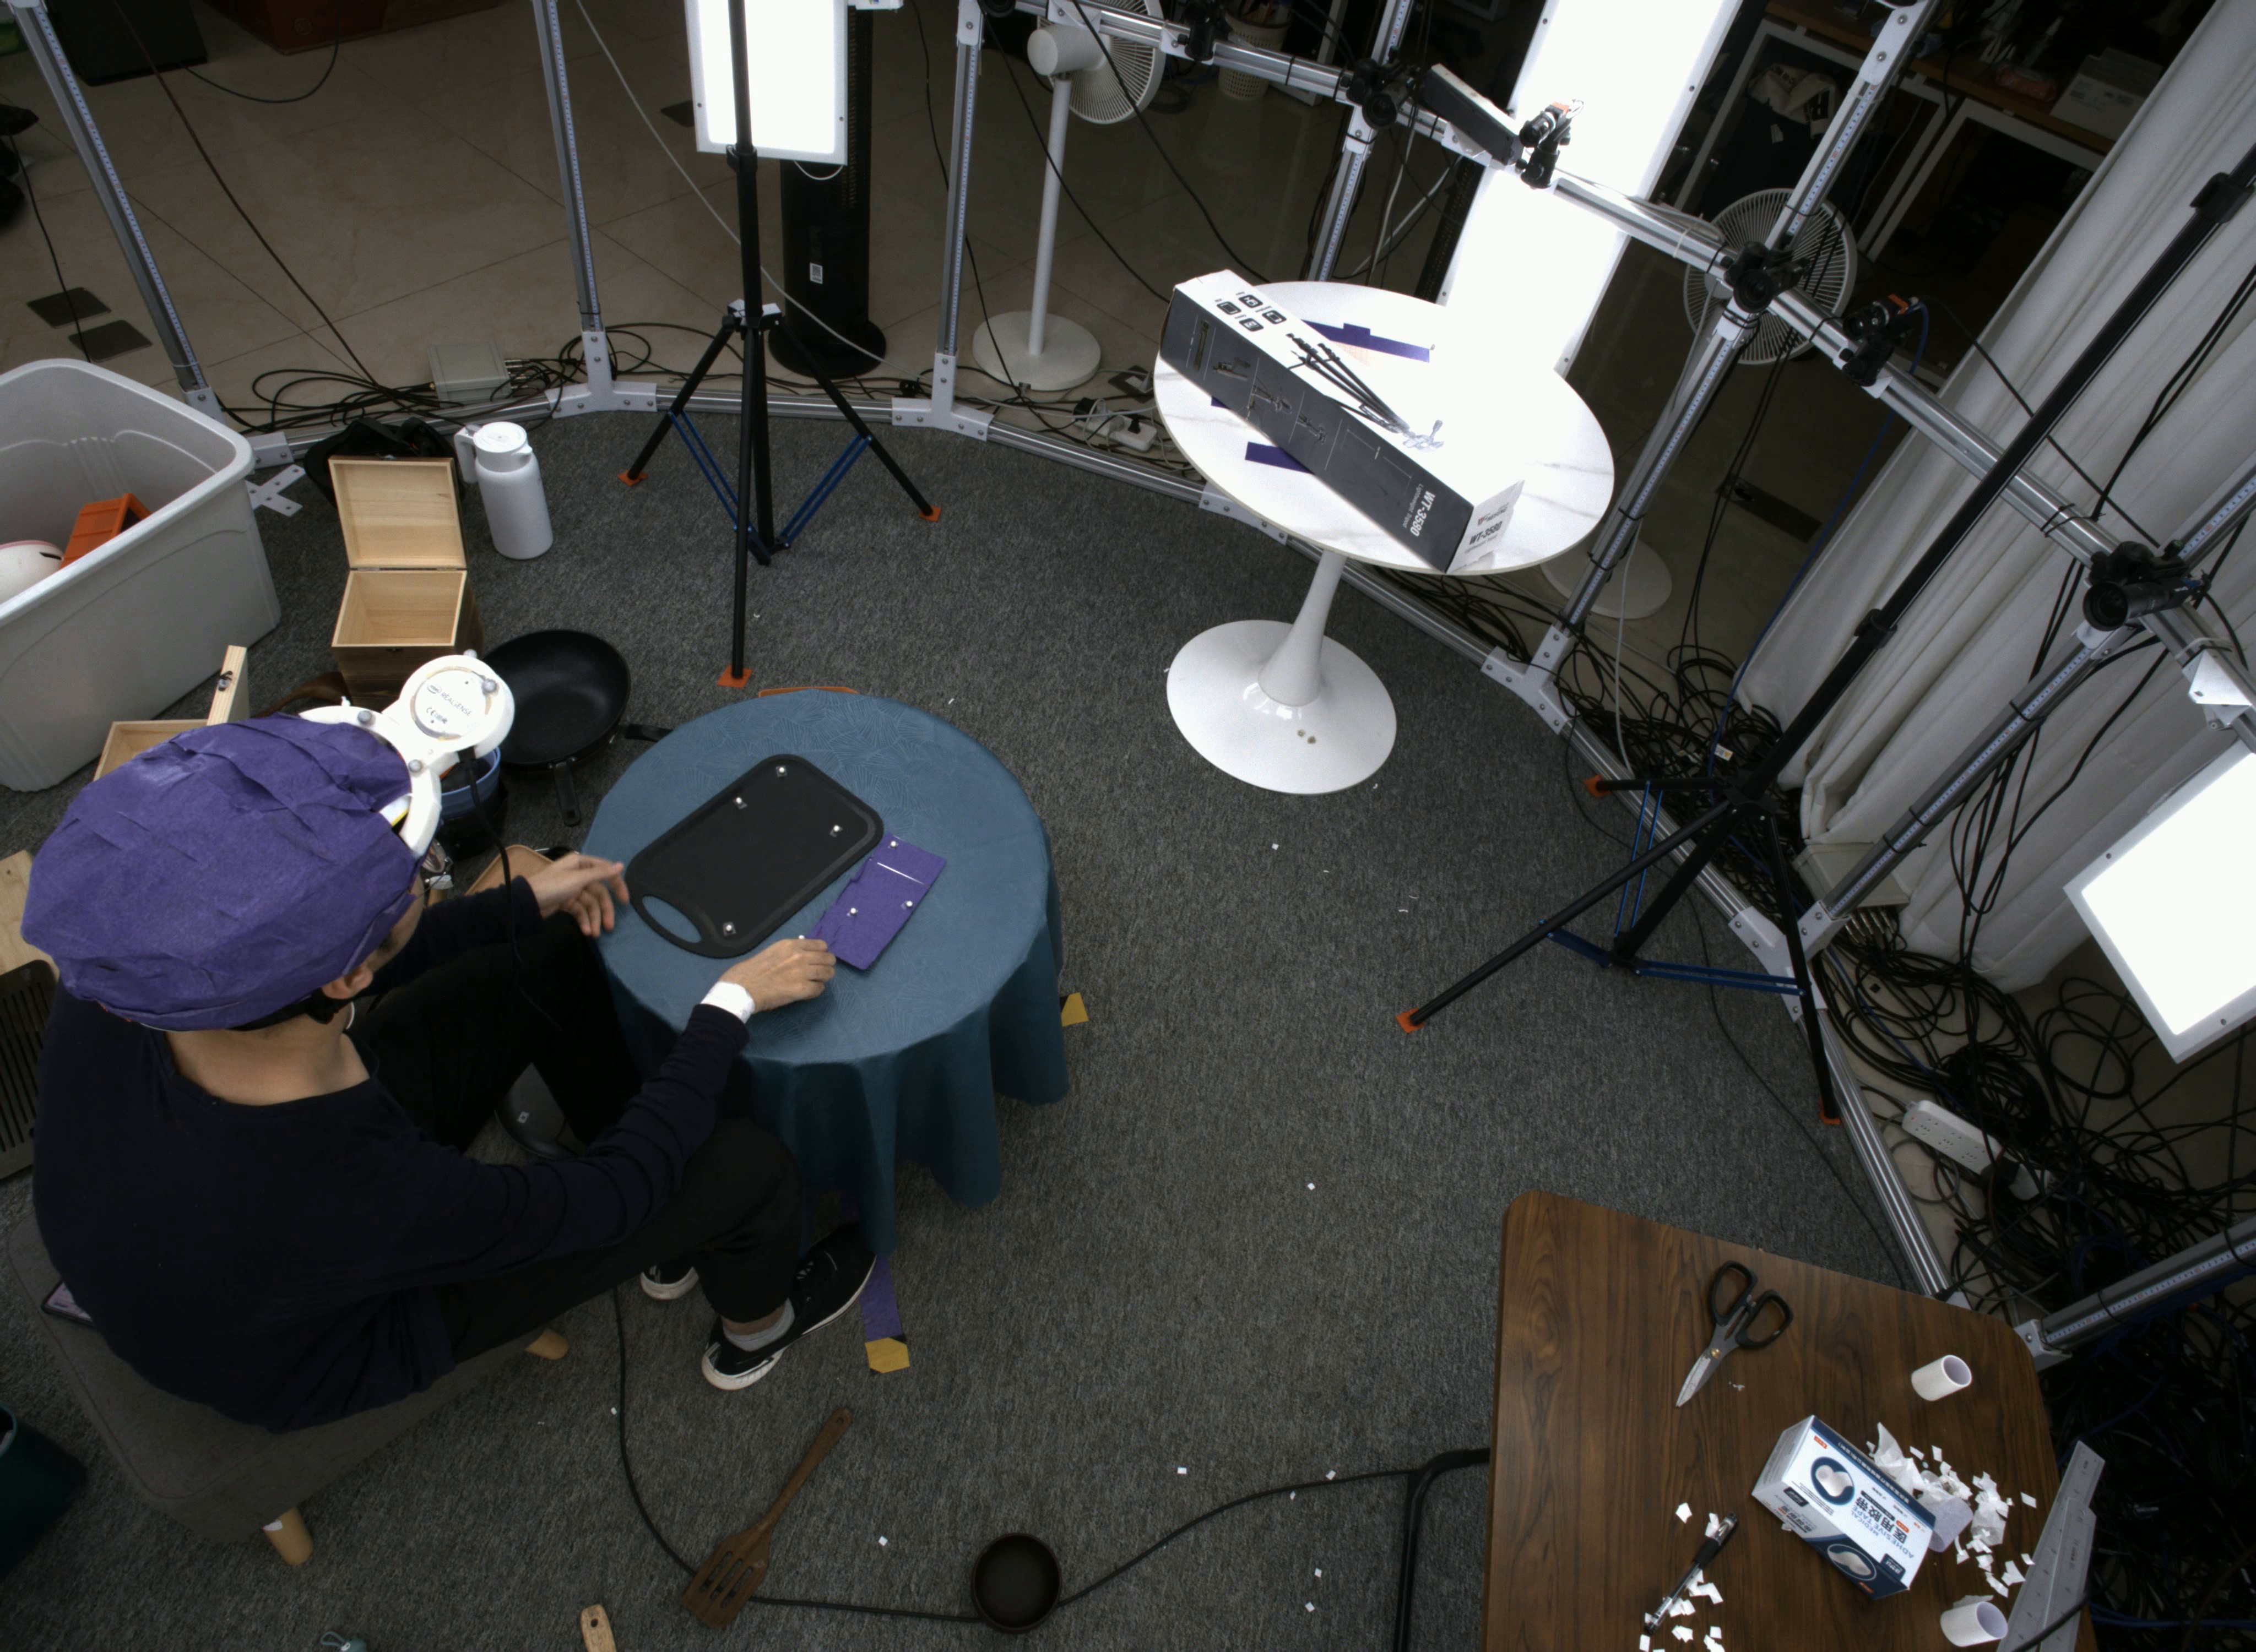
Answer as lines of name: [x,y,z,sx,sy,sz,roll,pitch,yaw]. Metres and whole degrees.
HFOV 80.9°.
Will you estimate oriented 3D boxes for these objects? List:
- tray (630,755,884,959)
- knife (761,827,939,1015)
tray: [-0.487,0.036,1.688,0.207,0.010,0.325,36,54,13]
knife: [-0.343,0.122,1.648,0.102,0.033,0.313,25,51,6]
